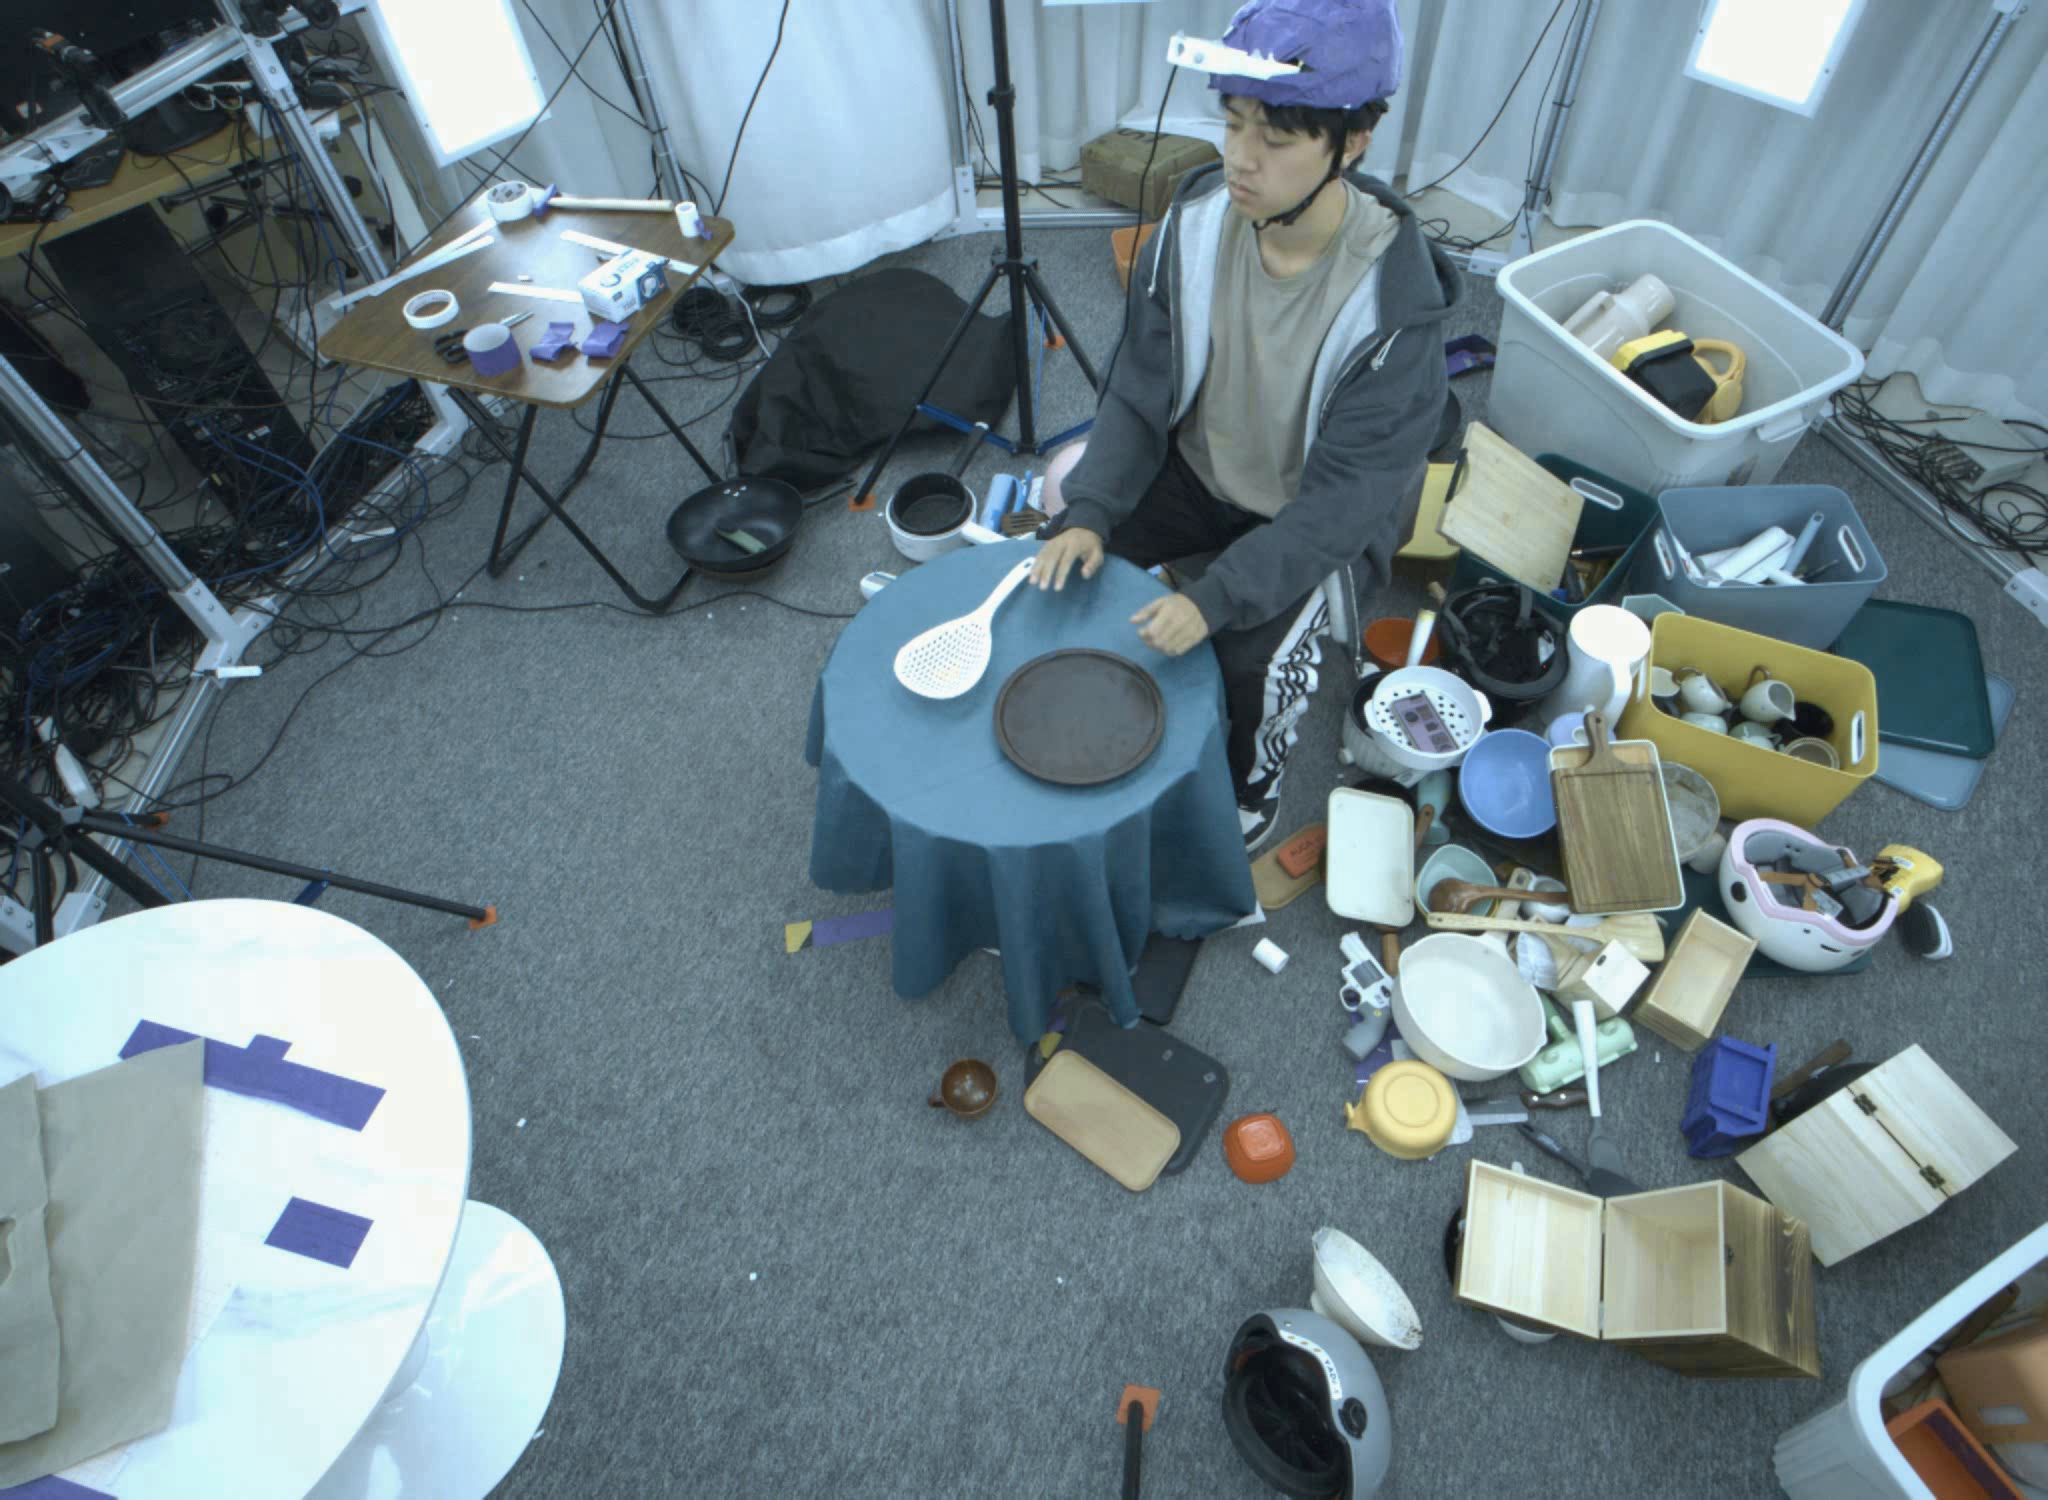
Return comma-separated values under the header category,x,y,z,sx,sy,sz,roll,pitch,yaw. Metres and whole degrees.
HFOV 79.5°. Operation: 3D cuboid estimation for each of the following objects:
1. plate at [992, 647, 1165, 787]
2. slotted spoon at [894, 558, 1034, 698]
category,x,y,z,sx,sy,sz,roll,pitch,yaw
plate,0.080,-0.050,1.808,0.254,0.029,0.252,-1,54,2
slotted spoon,-0.069,-0.199,1.908,0.135,0.051,0.349,22,58,20
